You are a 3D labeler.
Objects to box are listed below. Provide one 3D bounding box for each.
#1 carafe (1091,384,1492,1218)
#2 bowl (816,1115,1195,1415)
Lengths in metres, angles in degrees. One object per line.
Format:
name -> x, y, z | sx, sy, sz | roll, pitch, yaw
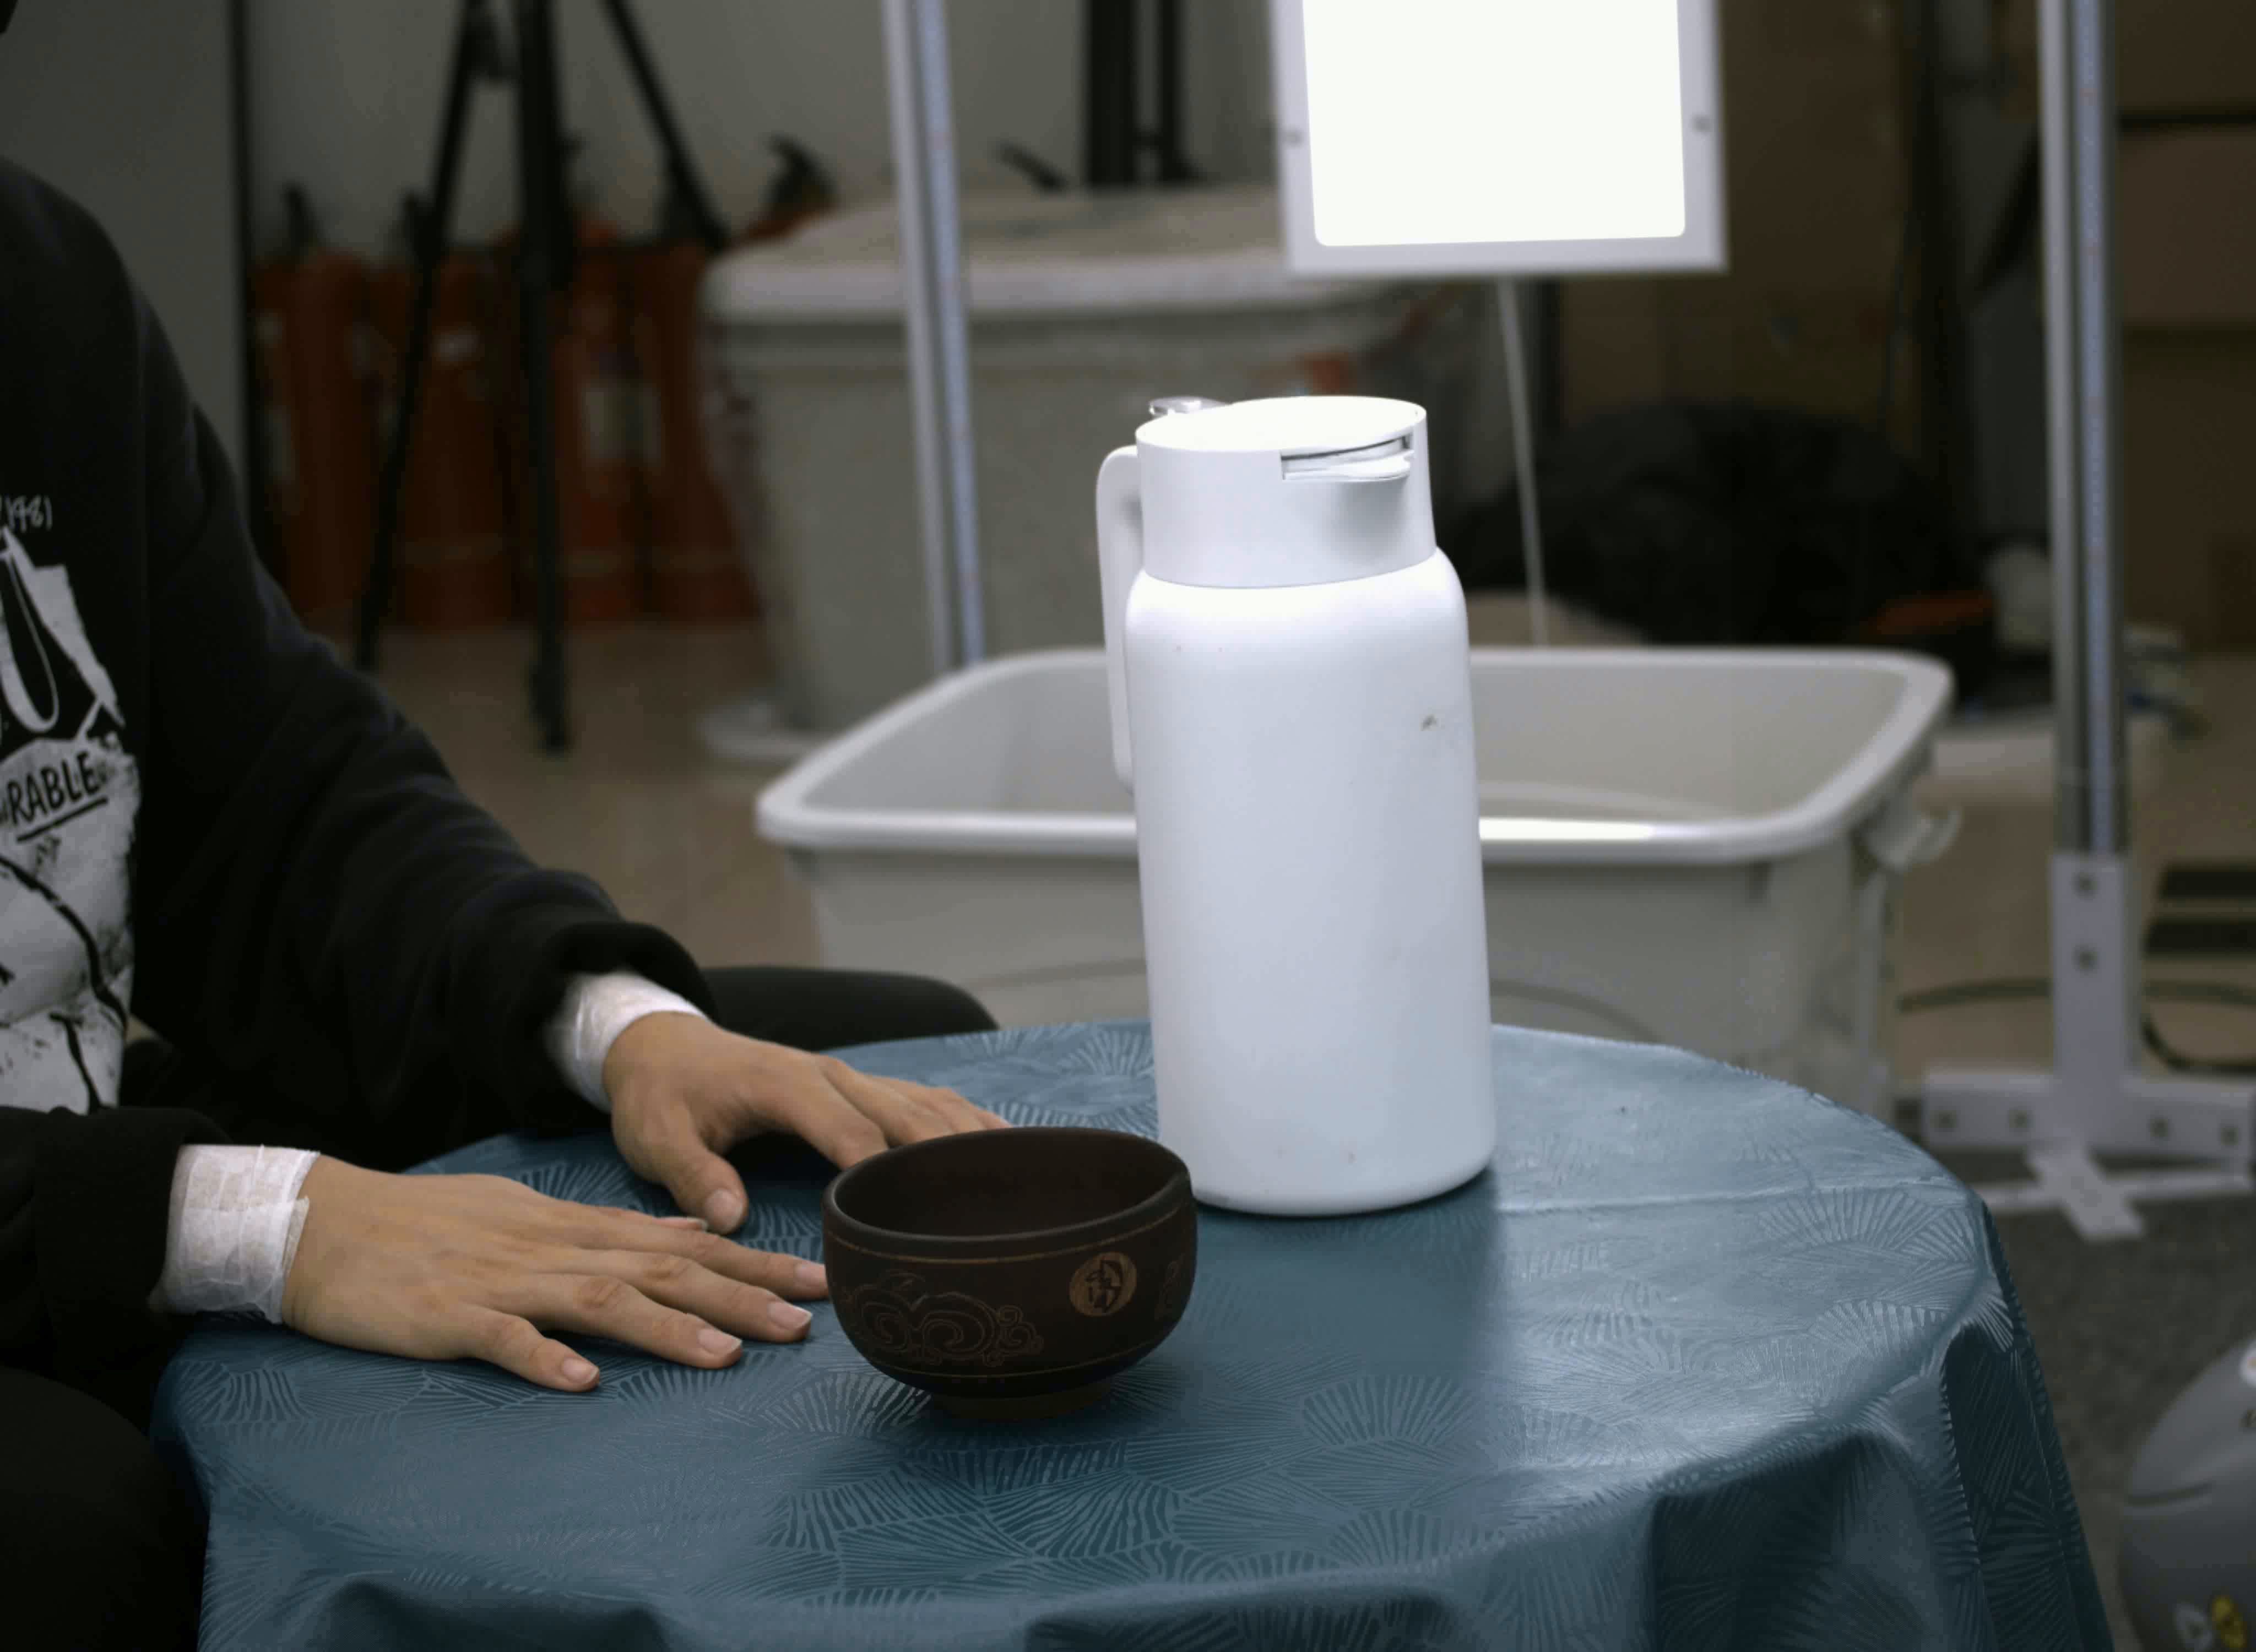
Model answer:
carafe -> 0.049, -0.011, 1.881 | 0.121, 0.270, 0.176 | -15, 17, -29
bowl -> -0.037, 0.140, 1.703 | 0.118, 0.070, 0.118 | -4, 15, 0
